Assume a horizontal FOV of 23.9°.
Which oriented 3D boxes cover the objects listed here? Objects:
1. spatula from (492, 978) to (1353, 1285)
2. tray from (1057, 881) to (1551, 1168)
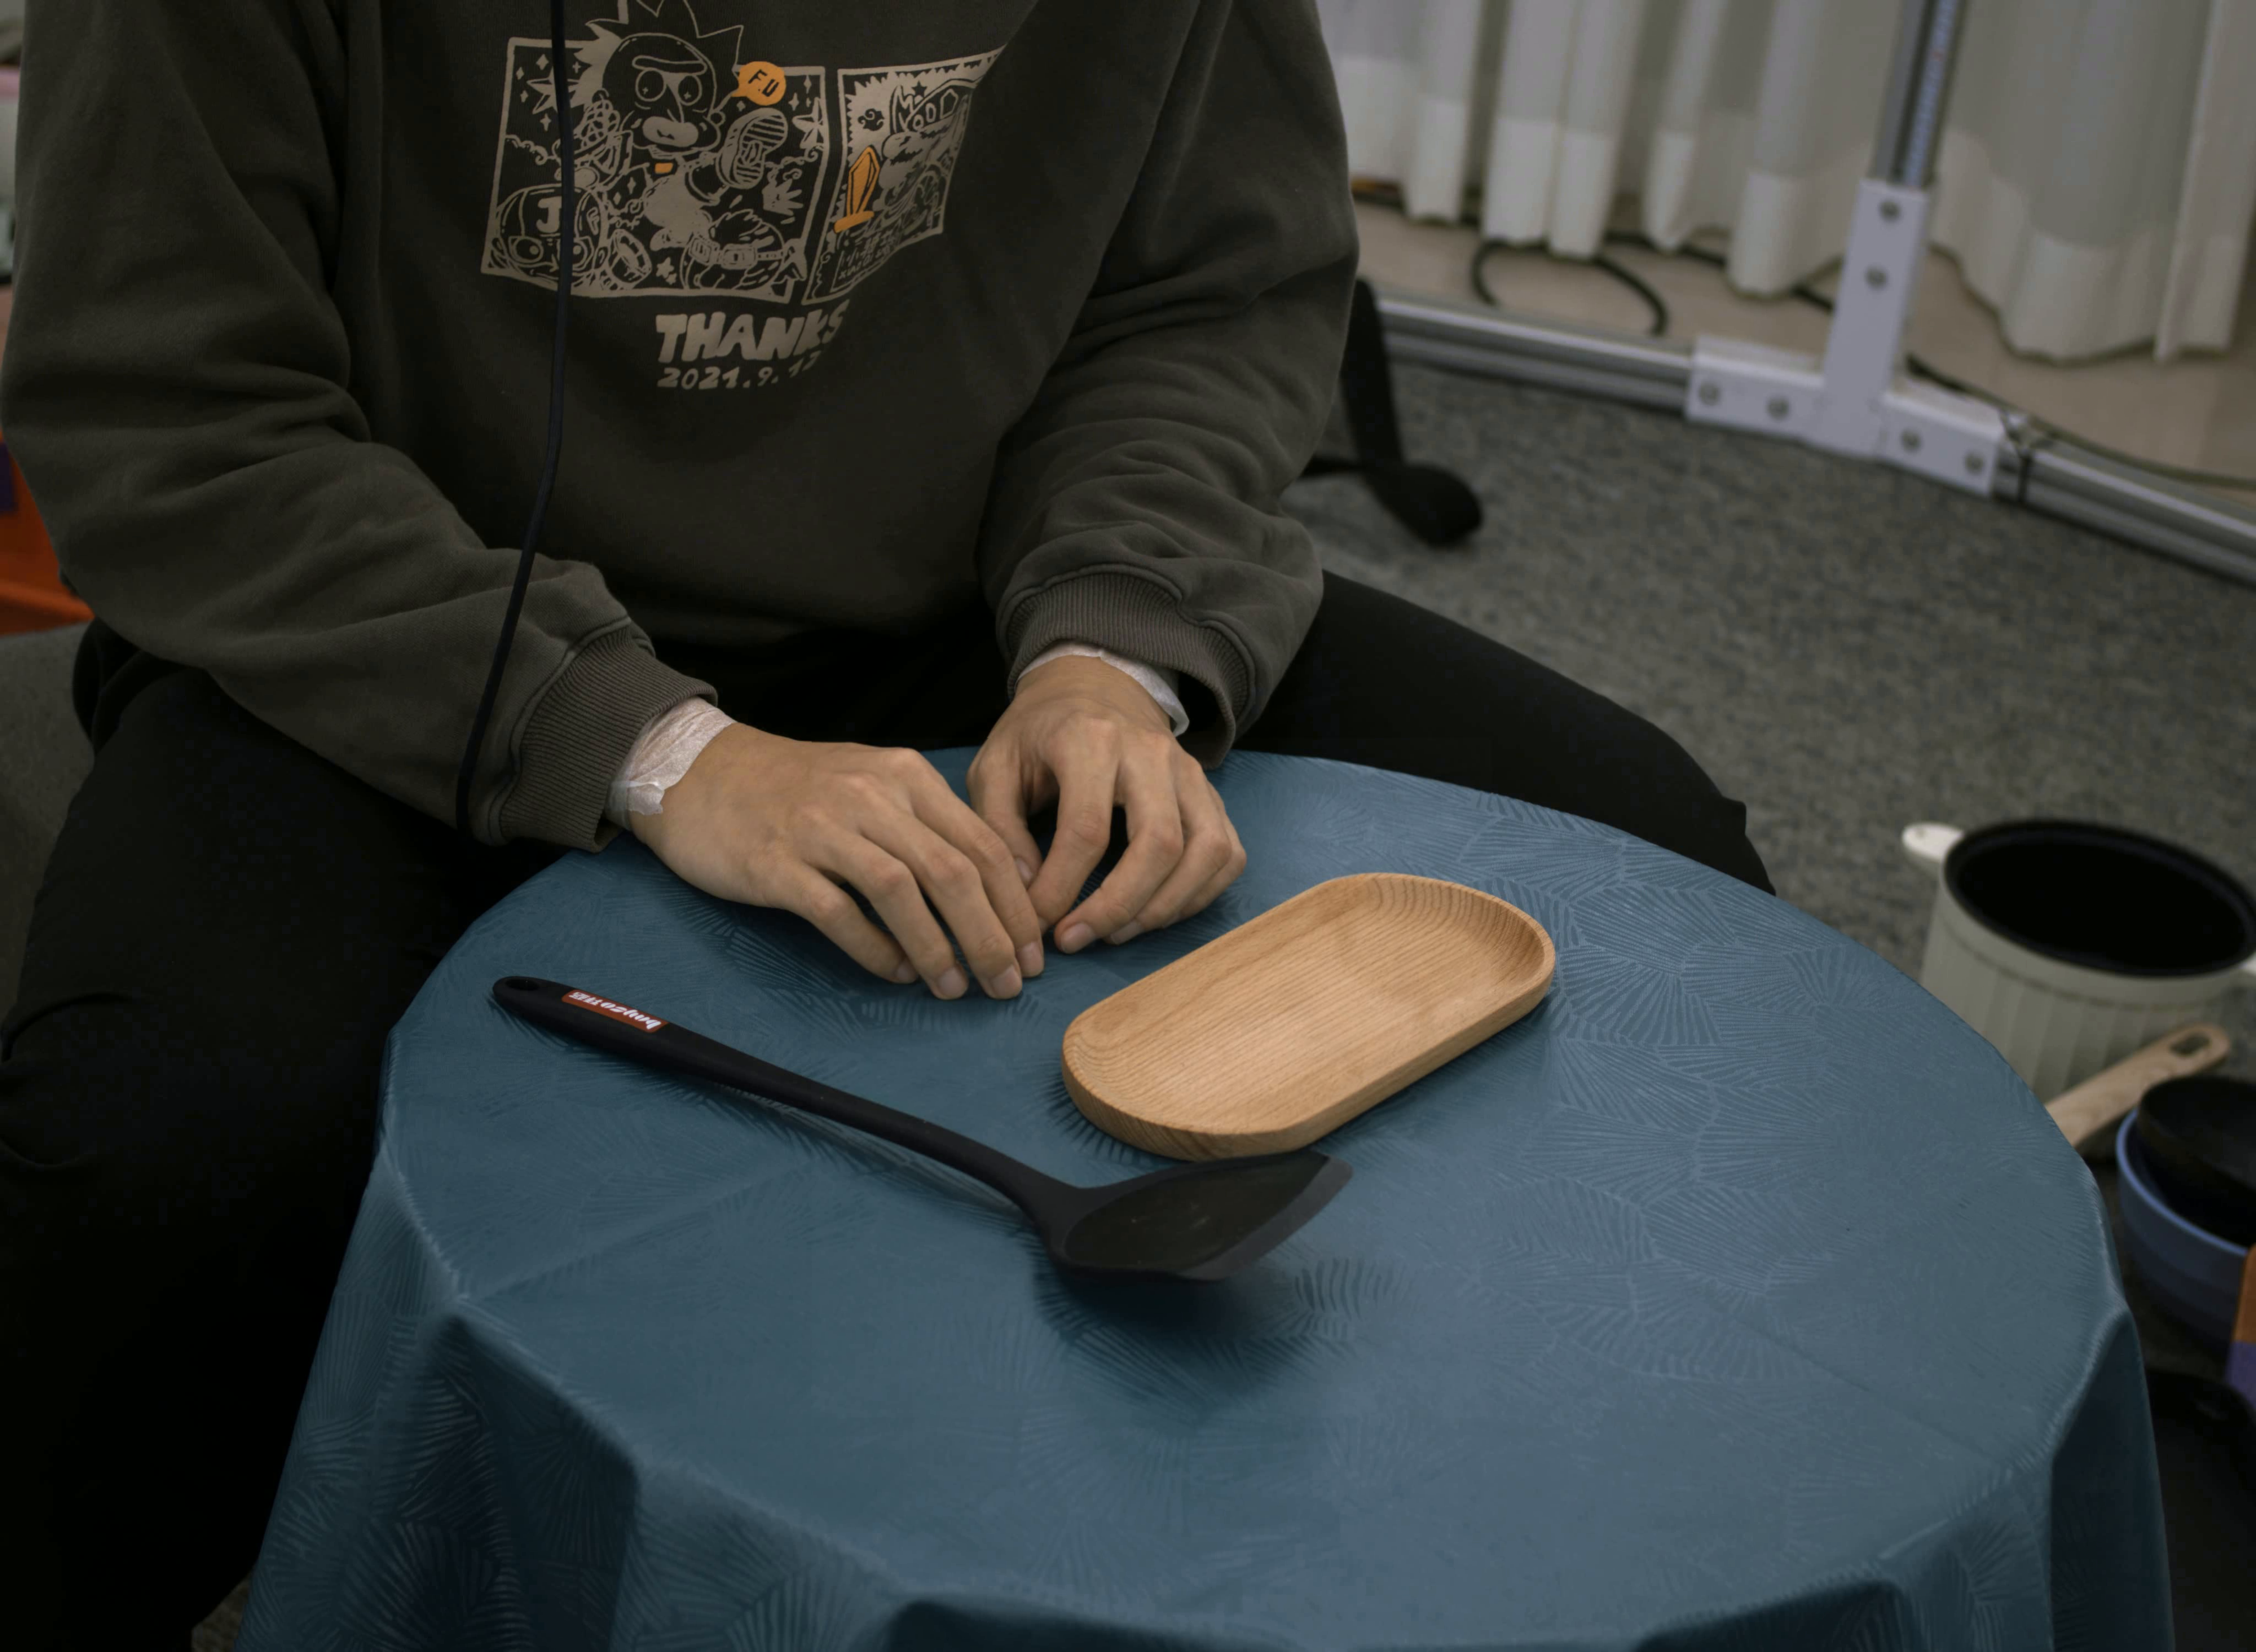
[{"bbox_3d":[-0.083,0.095,1.801,0.328,0.040,0.099,20,28,26],"label":"spatula"},{"bbox_3d":[0.065,0.070,1.908,0.102,0.020,0.230,24,32,31],"label":"tray"}]
